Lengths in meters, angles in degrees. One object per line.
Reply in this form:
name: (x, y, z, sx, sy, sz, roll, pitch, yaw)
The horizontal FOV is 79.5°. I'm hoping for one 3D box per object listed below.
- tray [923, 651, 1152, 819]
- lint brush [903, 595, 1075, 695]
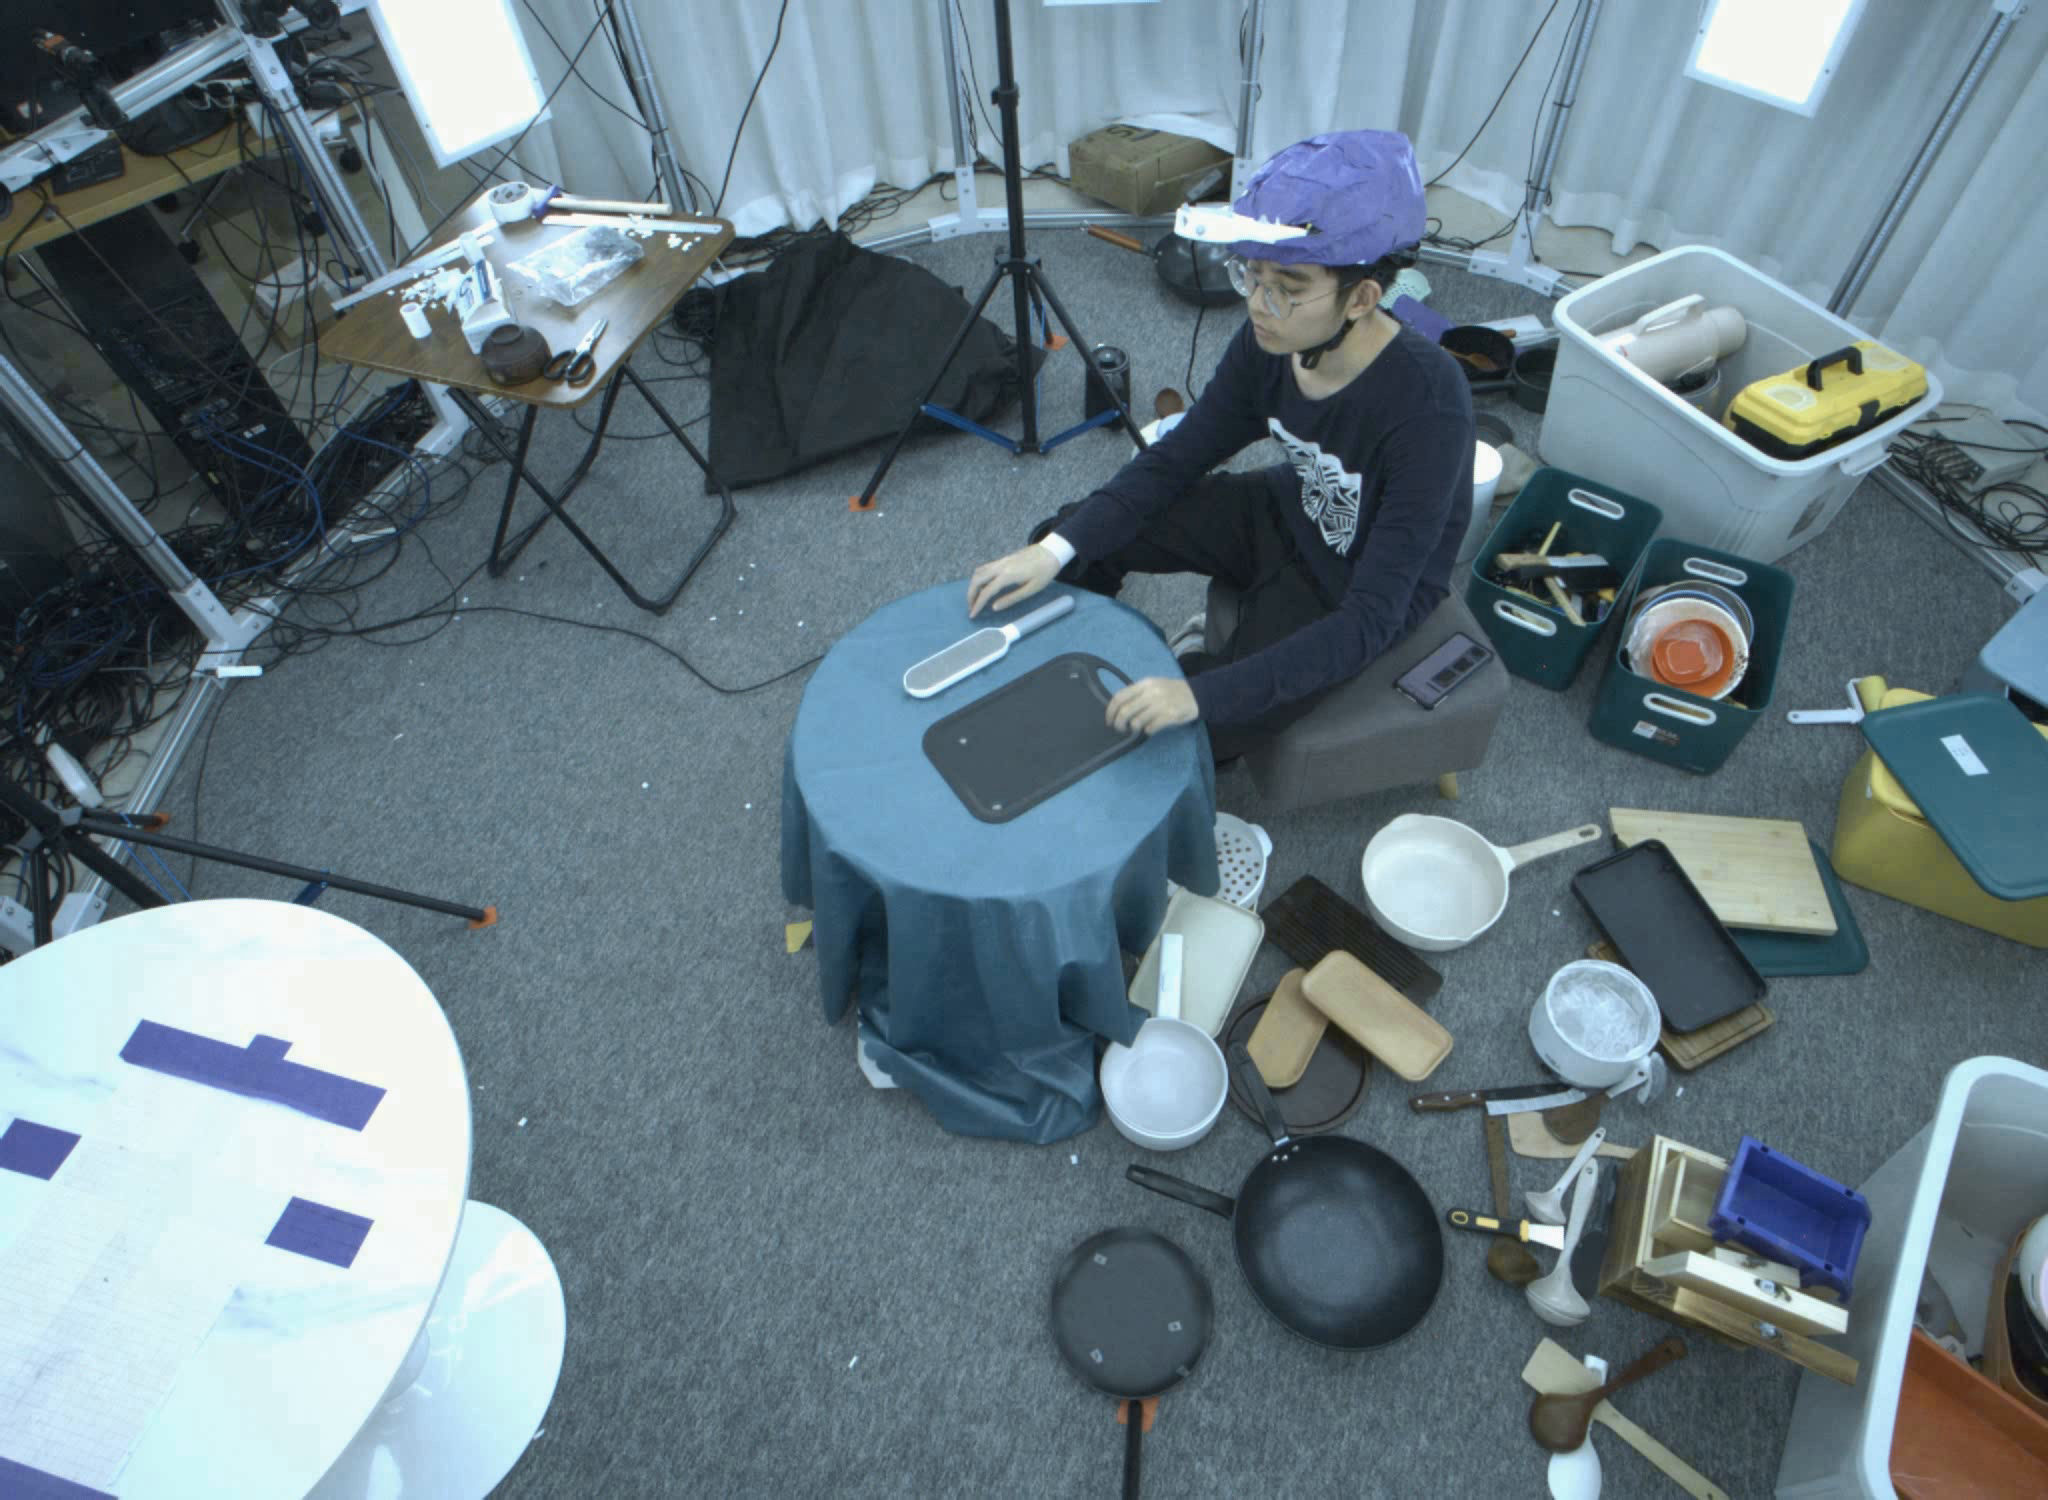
tray: (0.026, -0.033, 1.814, 0.328, 0.010, 0.207, -28, 59, -18)
lint brush: (-0.050, -0.166, 1.899, 0.311, 0.021, 0.059, -30, 53, -19)
